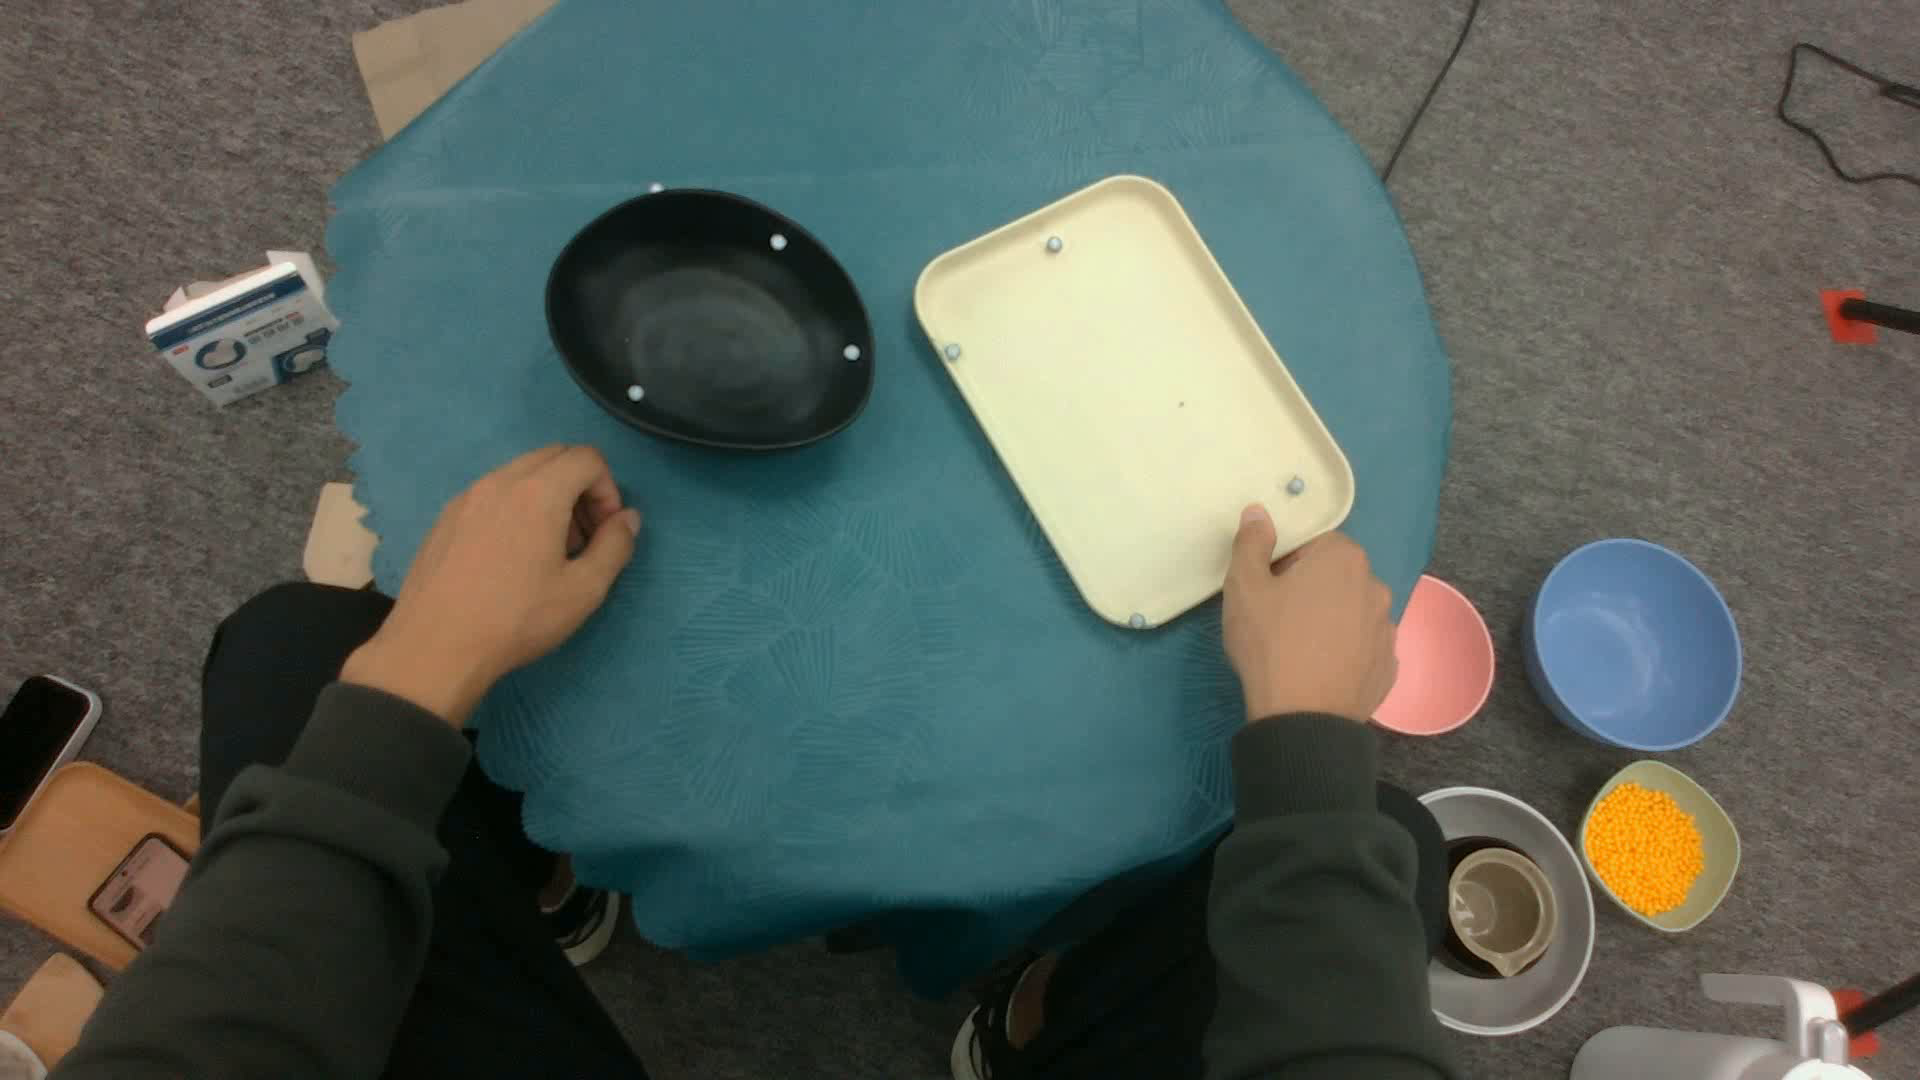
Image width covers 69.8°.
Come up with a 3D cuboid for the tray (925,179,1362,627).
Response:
[{"bbox_3d":[0.100,-0.080,0.769,0.171,0.017,0.240,-27,78,-13],"label":"tray"}]

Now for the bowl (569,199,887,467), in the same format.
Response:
[{"bbox_3d":[-0.119,-0.102,0.731,0.170,0.066,0.138,23,74,-1],"label":"bowl"}]
